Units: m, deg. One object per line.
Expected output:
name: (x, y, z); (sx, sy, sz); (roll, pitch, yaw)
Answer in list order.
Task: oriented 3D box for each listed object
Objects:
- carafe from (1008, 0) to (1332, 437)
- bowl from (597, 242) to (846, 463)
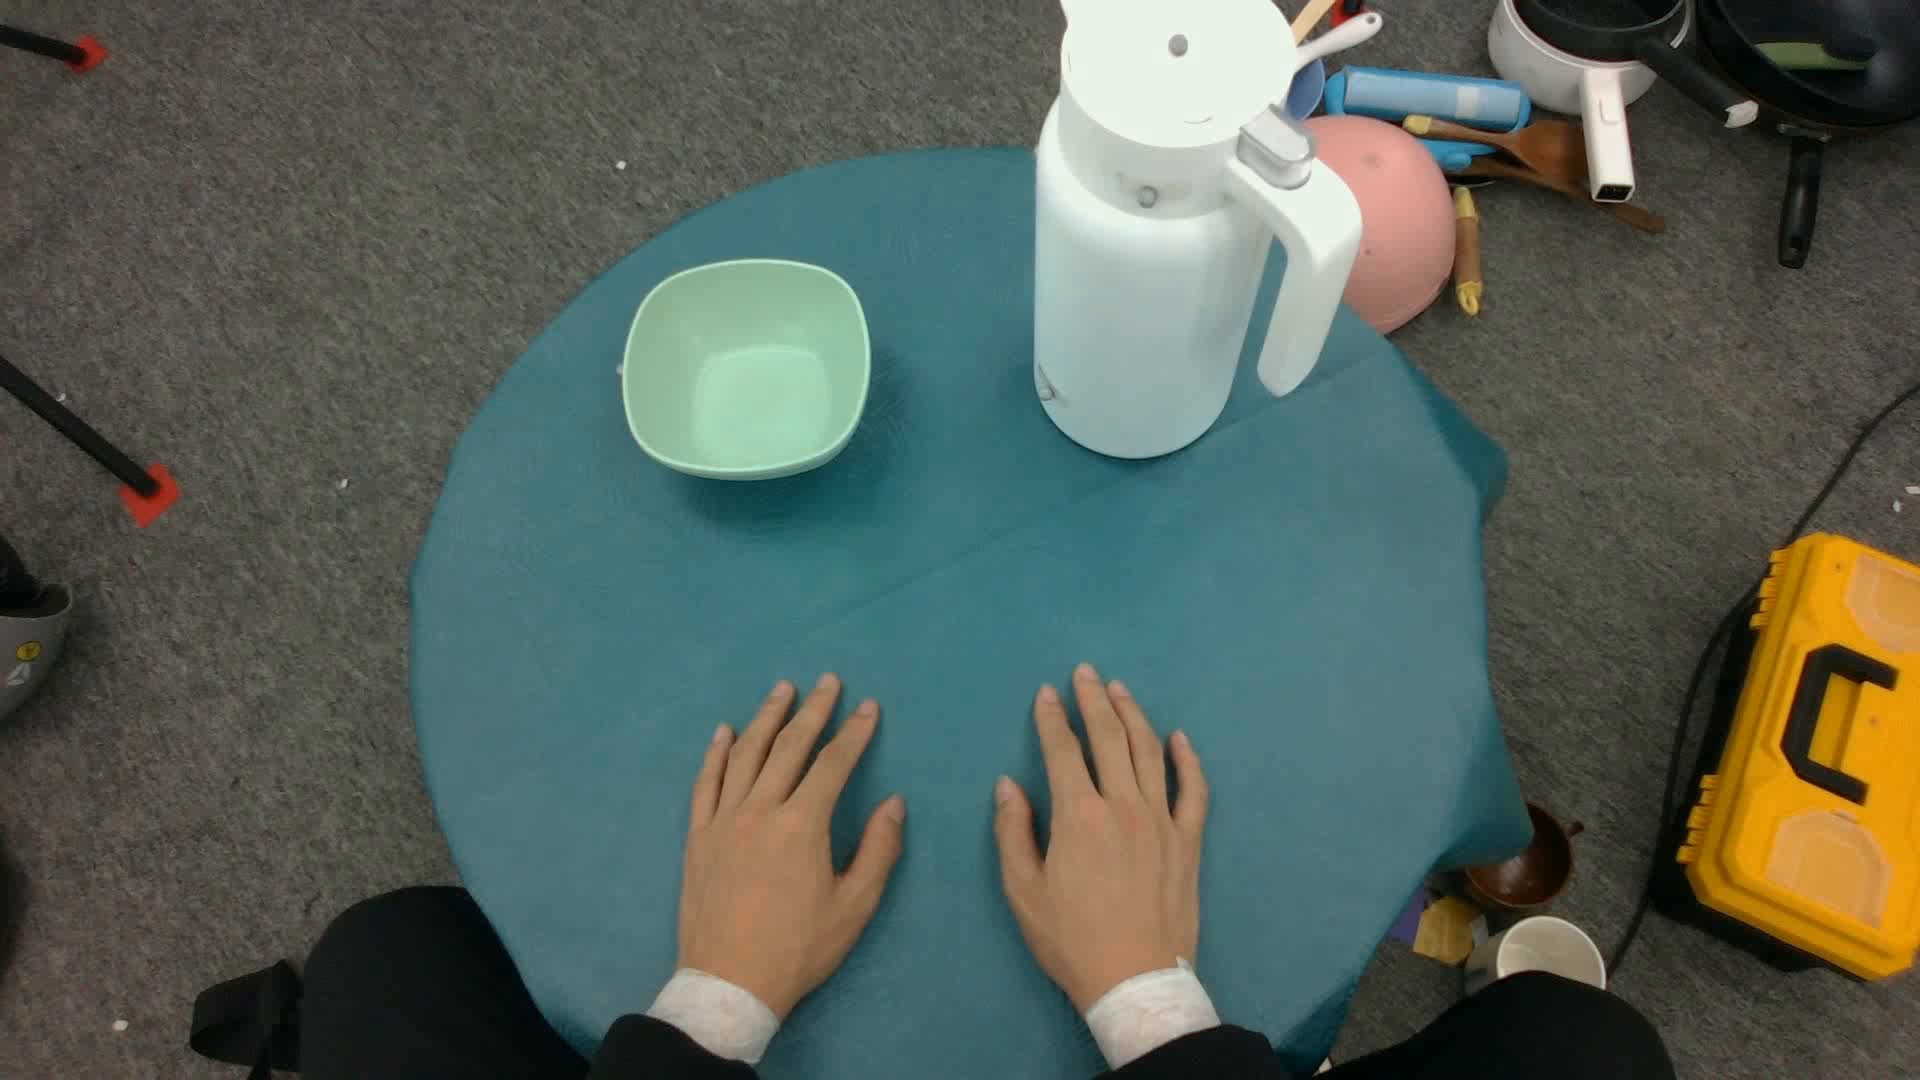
carafe: (0.096, -0.152, 0.697); (0.124, 0.268, 0.173); (-40, 71, -17)
bowl: (-0.133, -0.098, 0.794); (0.151, 0.058, 0.152); (0, 66, 1)
